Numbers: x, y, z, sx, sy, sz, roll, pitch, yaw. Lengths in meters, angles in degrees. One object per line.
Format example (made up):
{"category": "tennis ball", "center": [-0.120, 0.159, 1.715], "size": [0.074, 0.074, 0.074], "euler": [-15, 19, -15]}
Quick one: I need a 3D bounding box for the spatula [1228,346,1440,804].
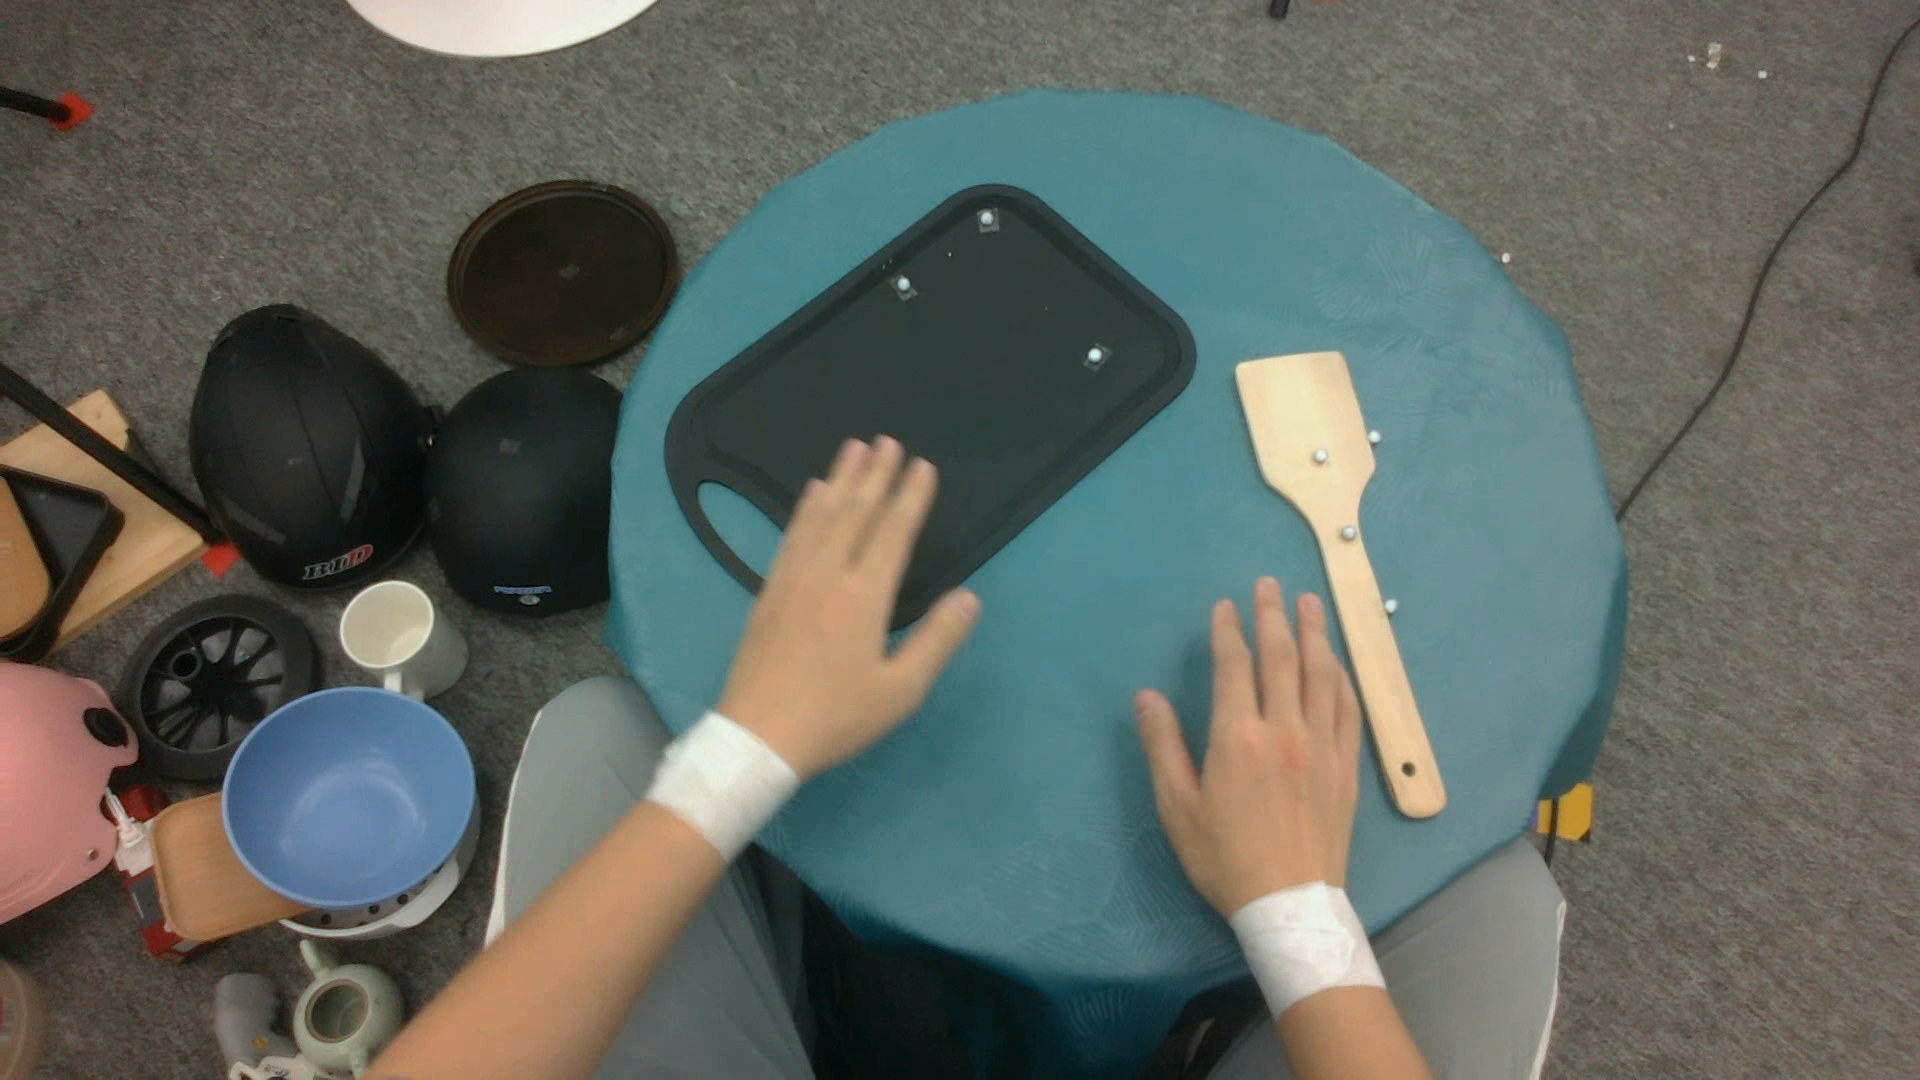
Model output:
{"category": "spatula", "center": [0.227, 0.012, 0.810], "size": [0.072, 0.010, 0.294], "euler": [-8, 65, -5]}

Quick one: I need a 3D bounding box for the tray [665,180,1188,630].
{"category": "tray", "center": [-0.024, -0.090, 0.861], "size": [0.326, 0.010, 0.211], "euler": [-41, 71, -16]}
